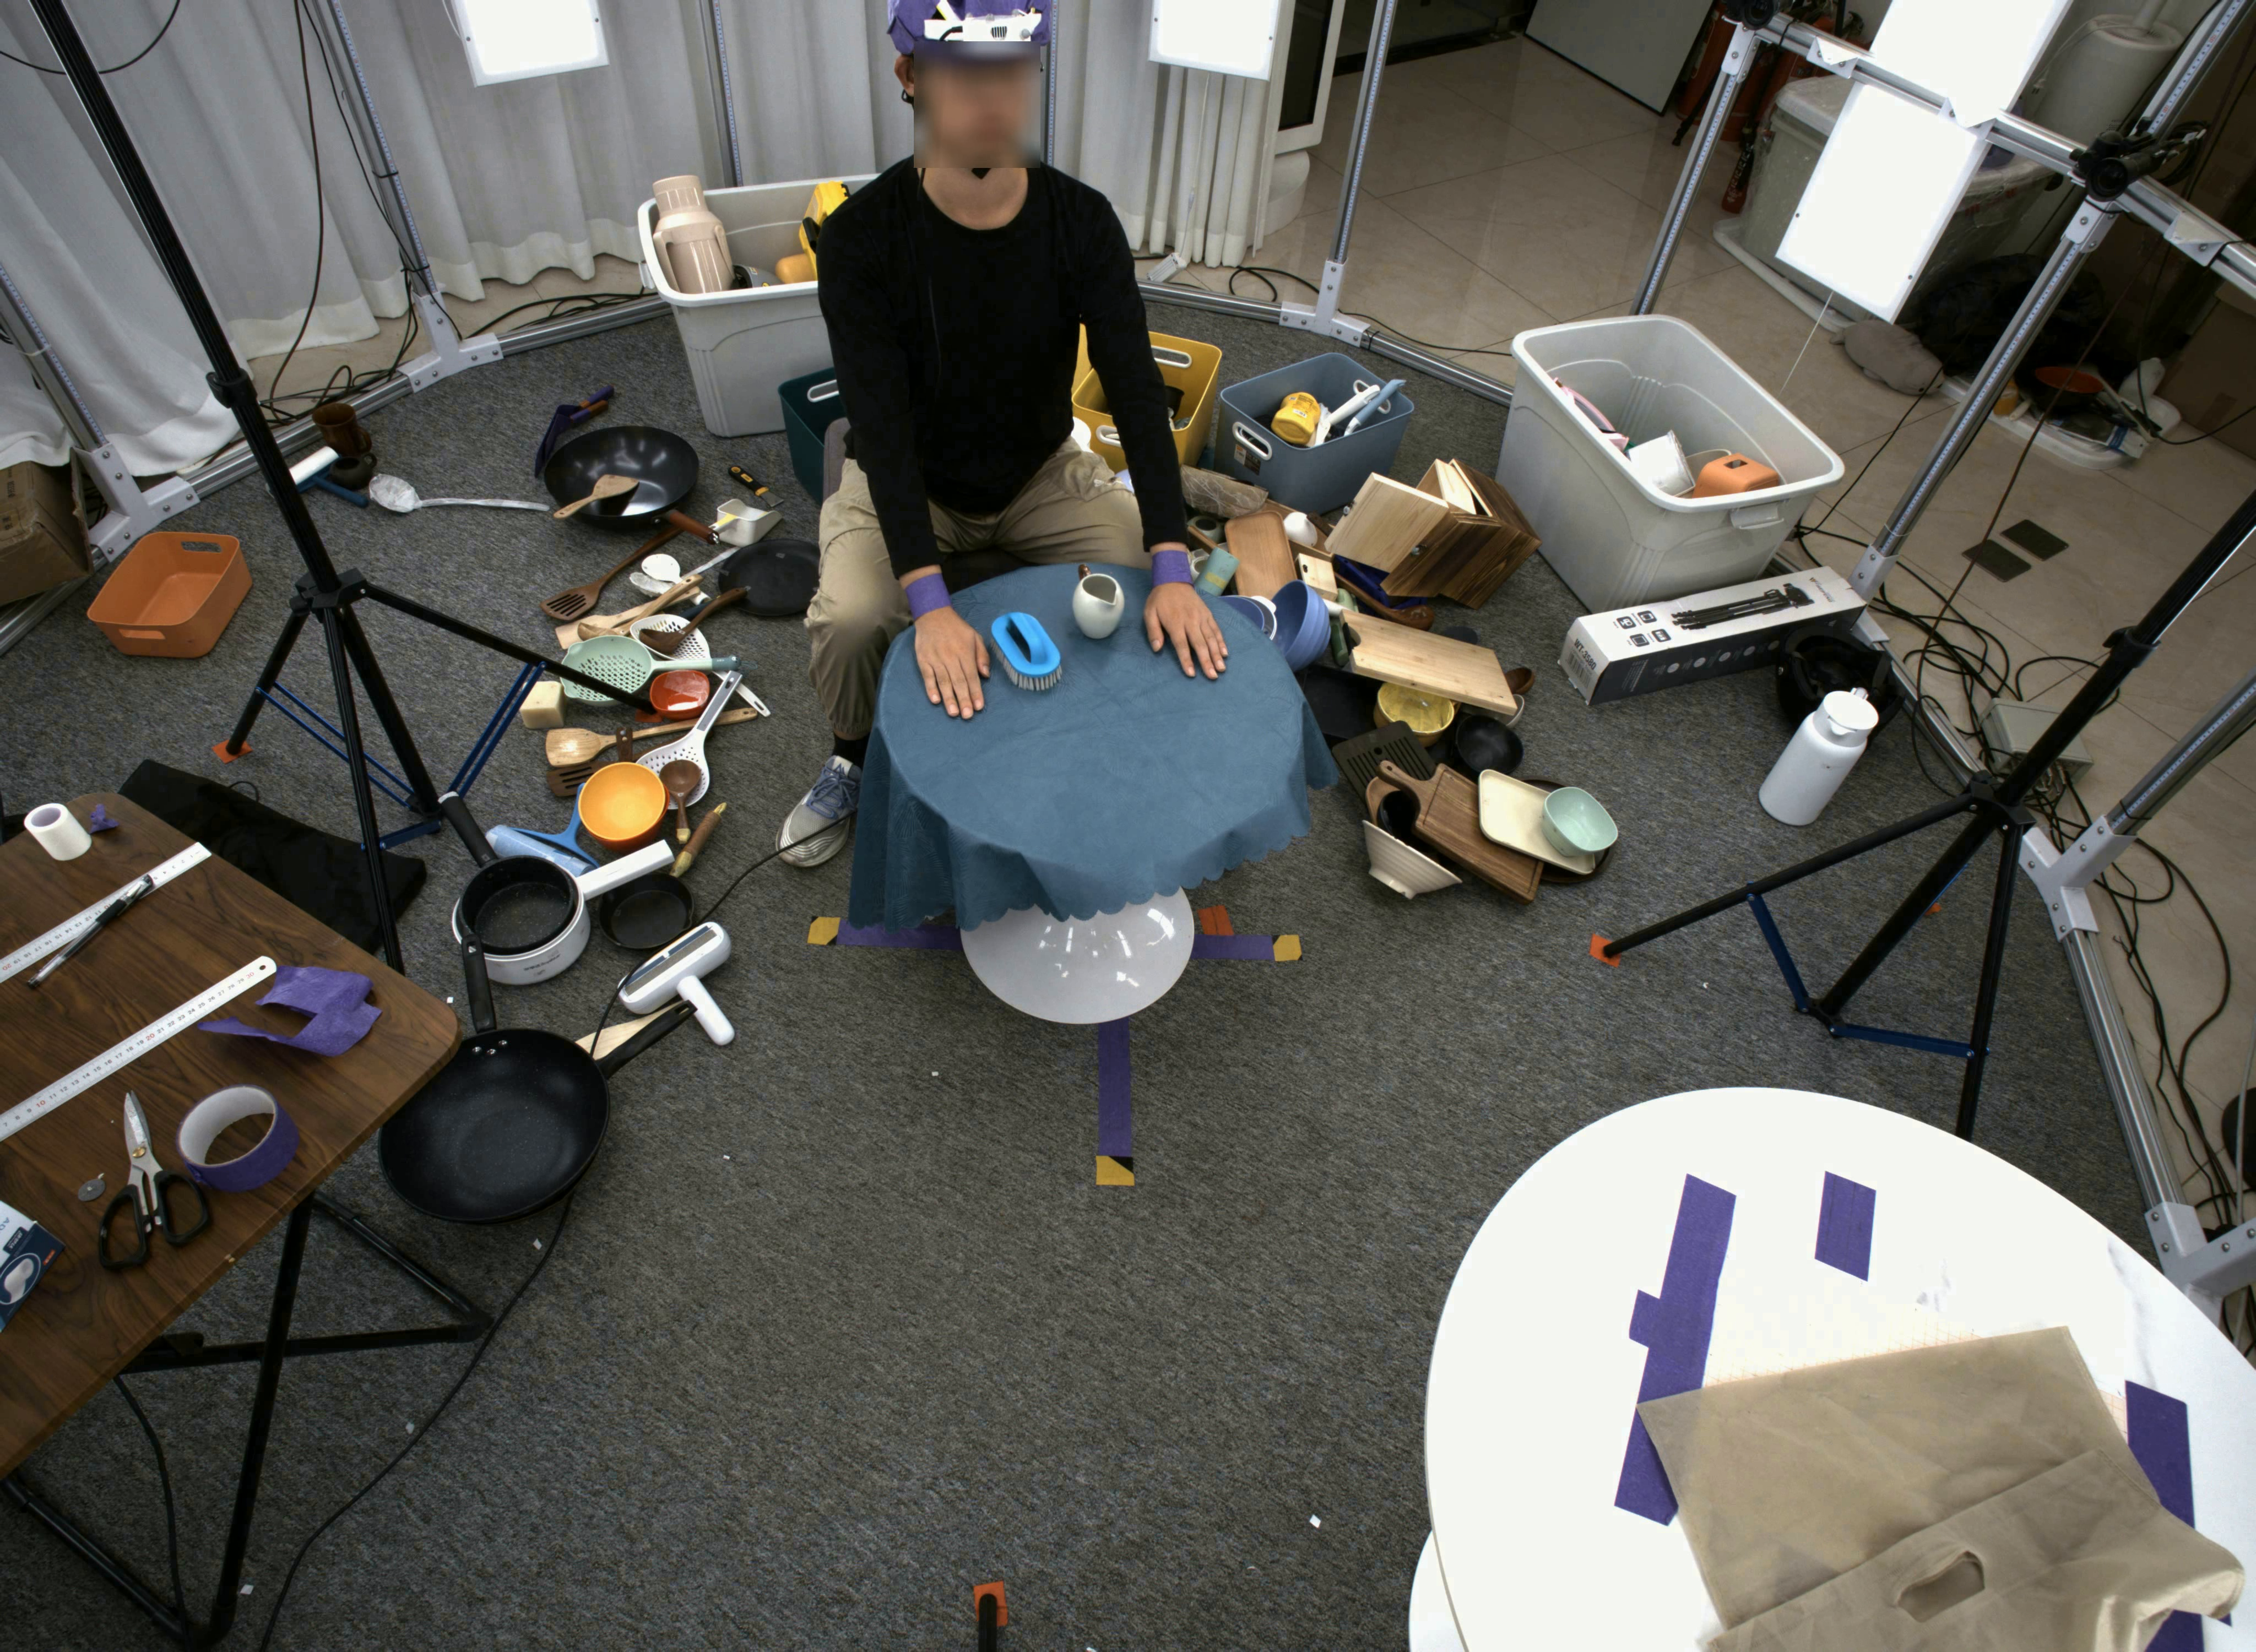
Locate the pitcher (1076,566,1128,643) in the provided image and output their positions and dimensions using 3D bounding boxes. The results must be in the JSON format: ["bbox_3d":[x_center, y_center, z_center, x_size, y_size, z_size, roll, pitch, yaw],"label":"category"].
[{"bbox_3d":[-0.042,-0.321,1.886,0.076,0.086,0.122,-10,54,-20],"label":"pitcher"}]

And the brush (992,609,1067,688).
[{"bbox_3d":[-0.144,-0.266,1.845,0.084,0.062,0.145,-21,52,-15],"label":"brush"}]
